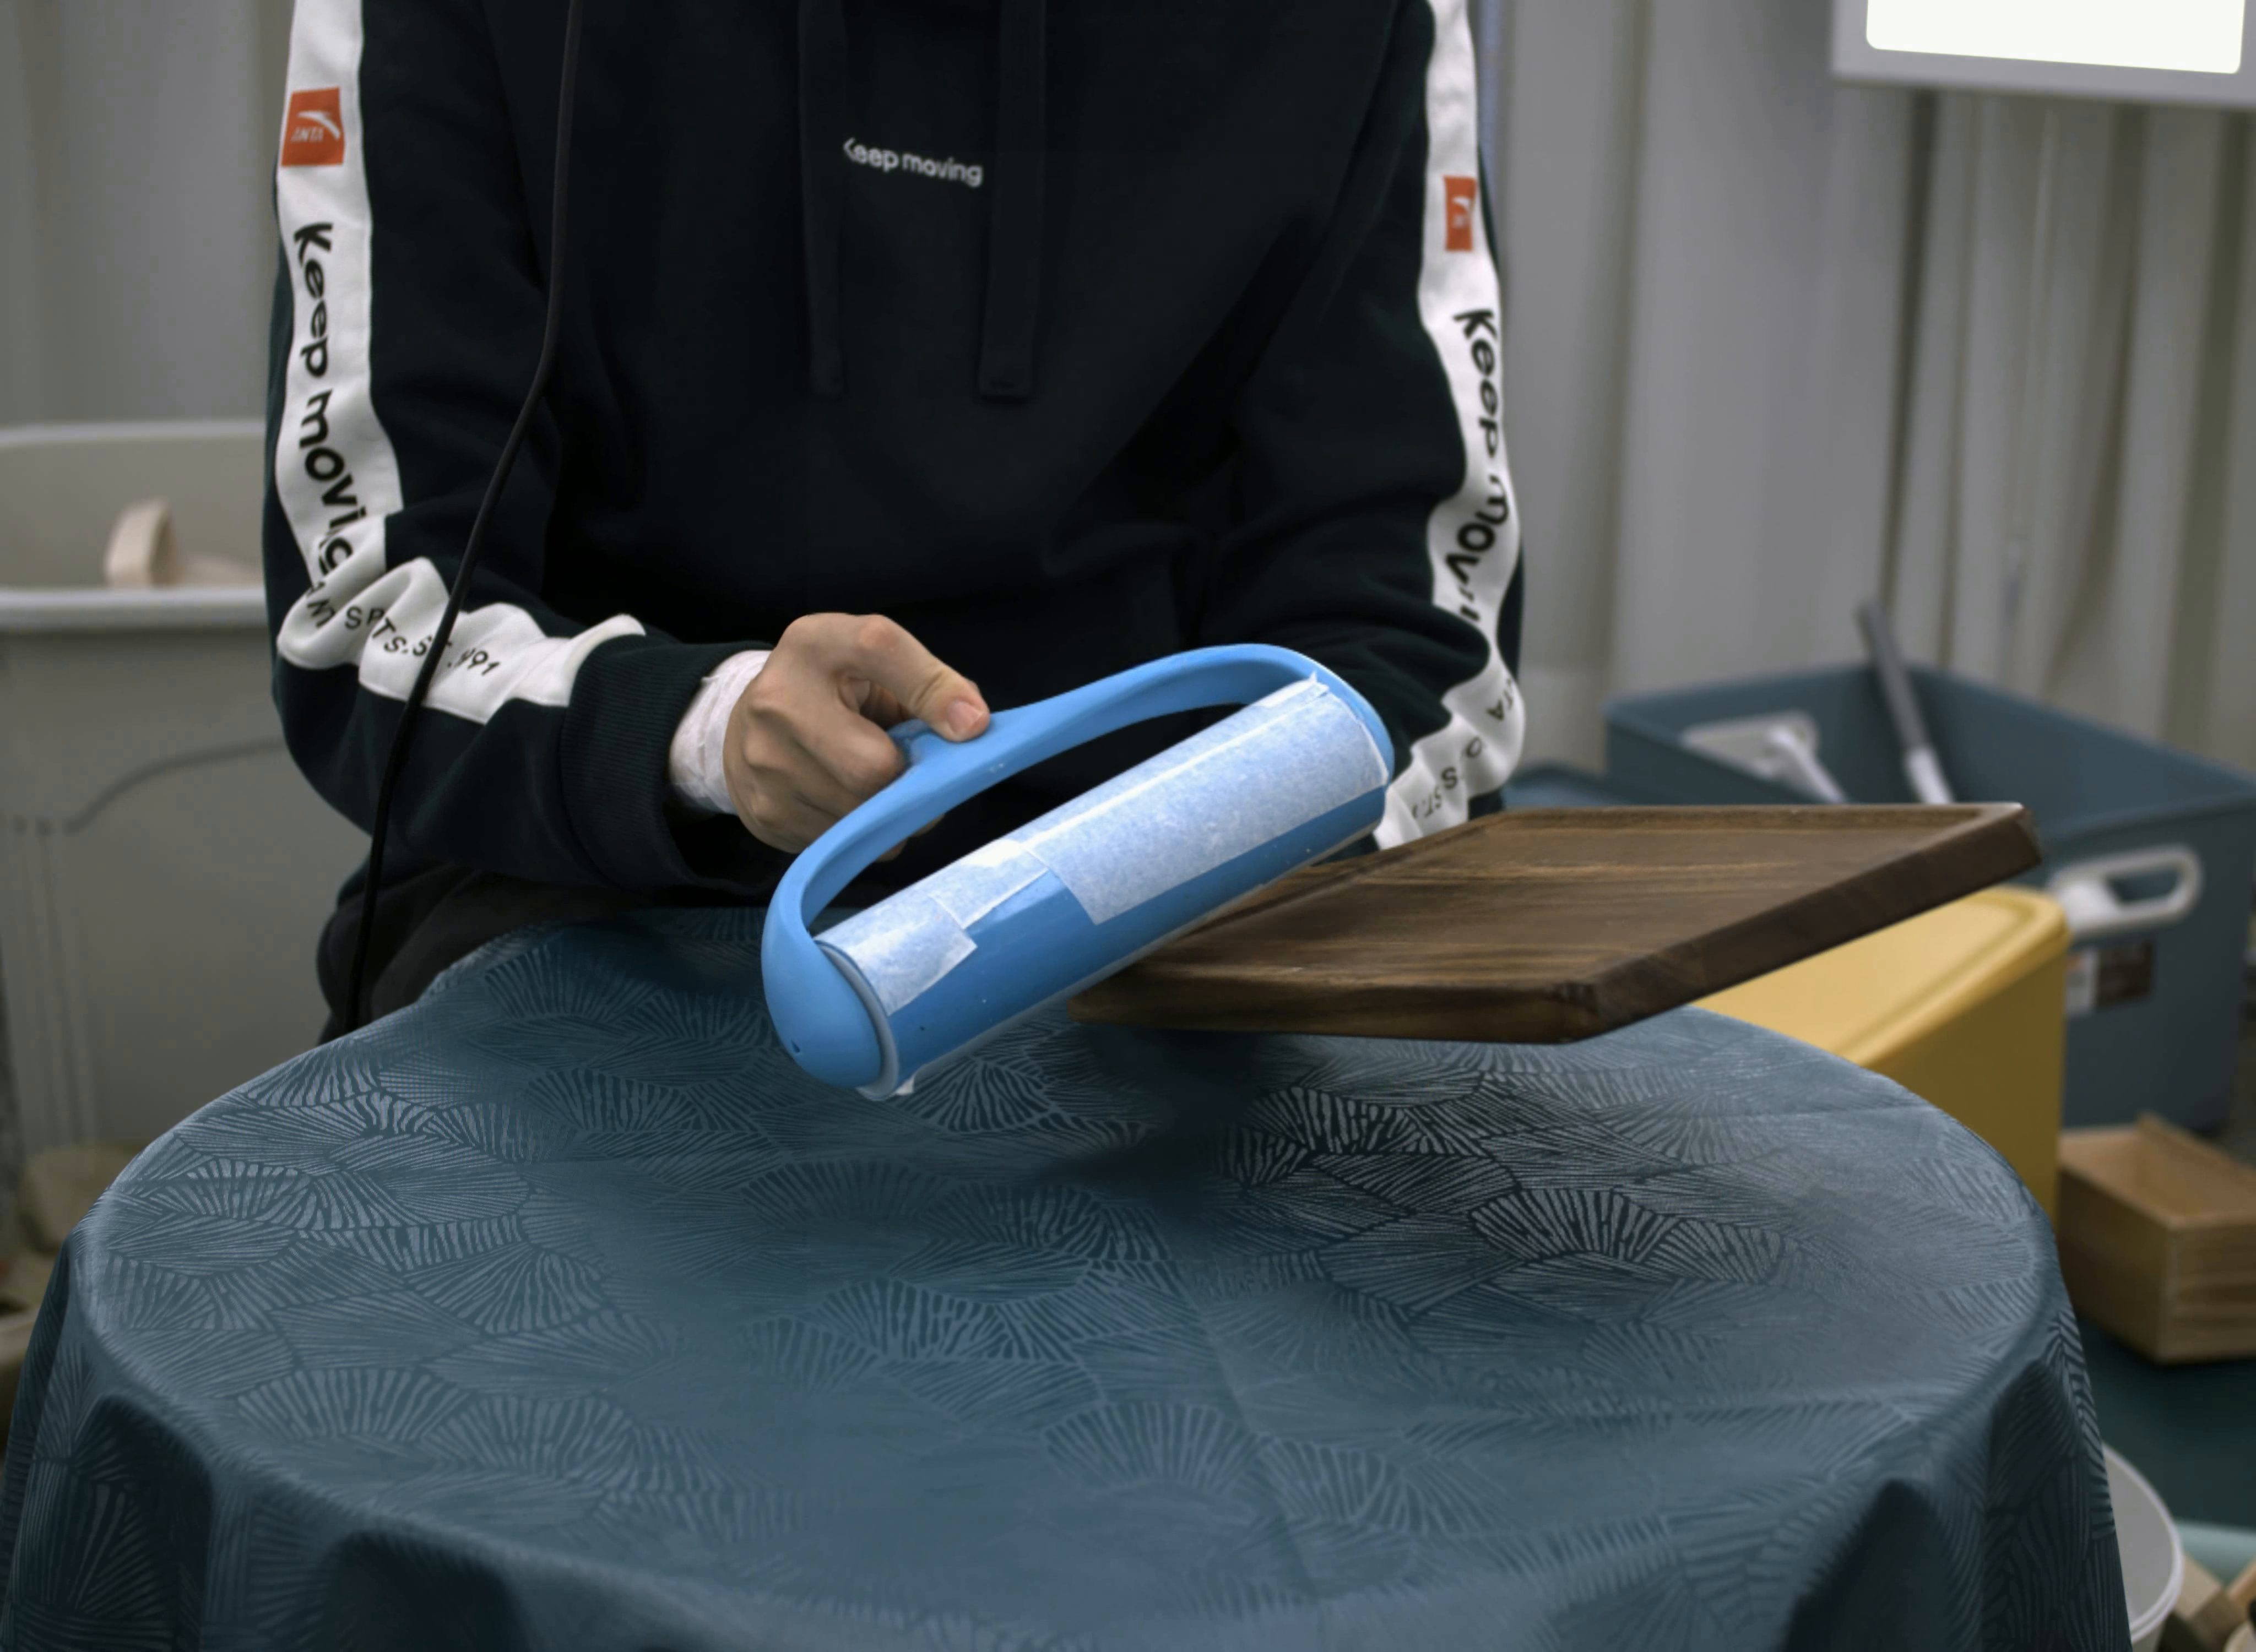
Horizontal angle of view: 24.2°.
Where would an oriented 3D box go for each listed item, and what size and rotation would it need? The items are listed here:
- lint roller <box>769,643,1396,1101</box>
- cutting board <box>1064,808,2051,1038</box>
[{"bbox_3d":[-0.047,-0.001,1.655,0.229,0.069,0.178,-32,37,-30],"label":"lint roller"},{"bbox_3d":[0.097,0.027,1.642,0.202,0.023,0.348,-17,10,-36],"label":"cutting board"}]
